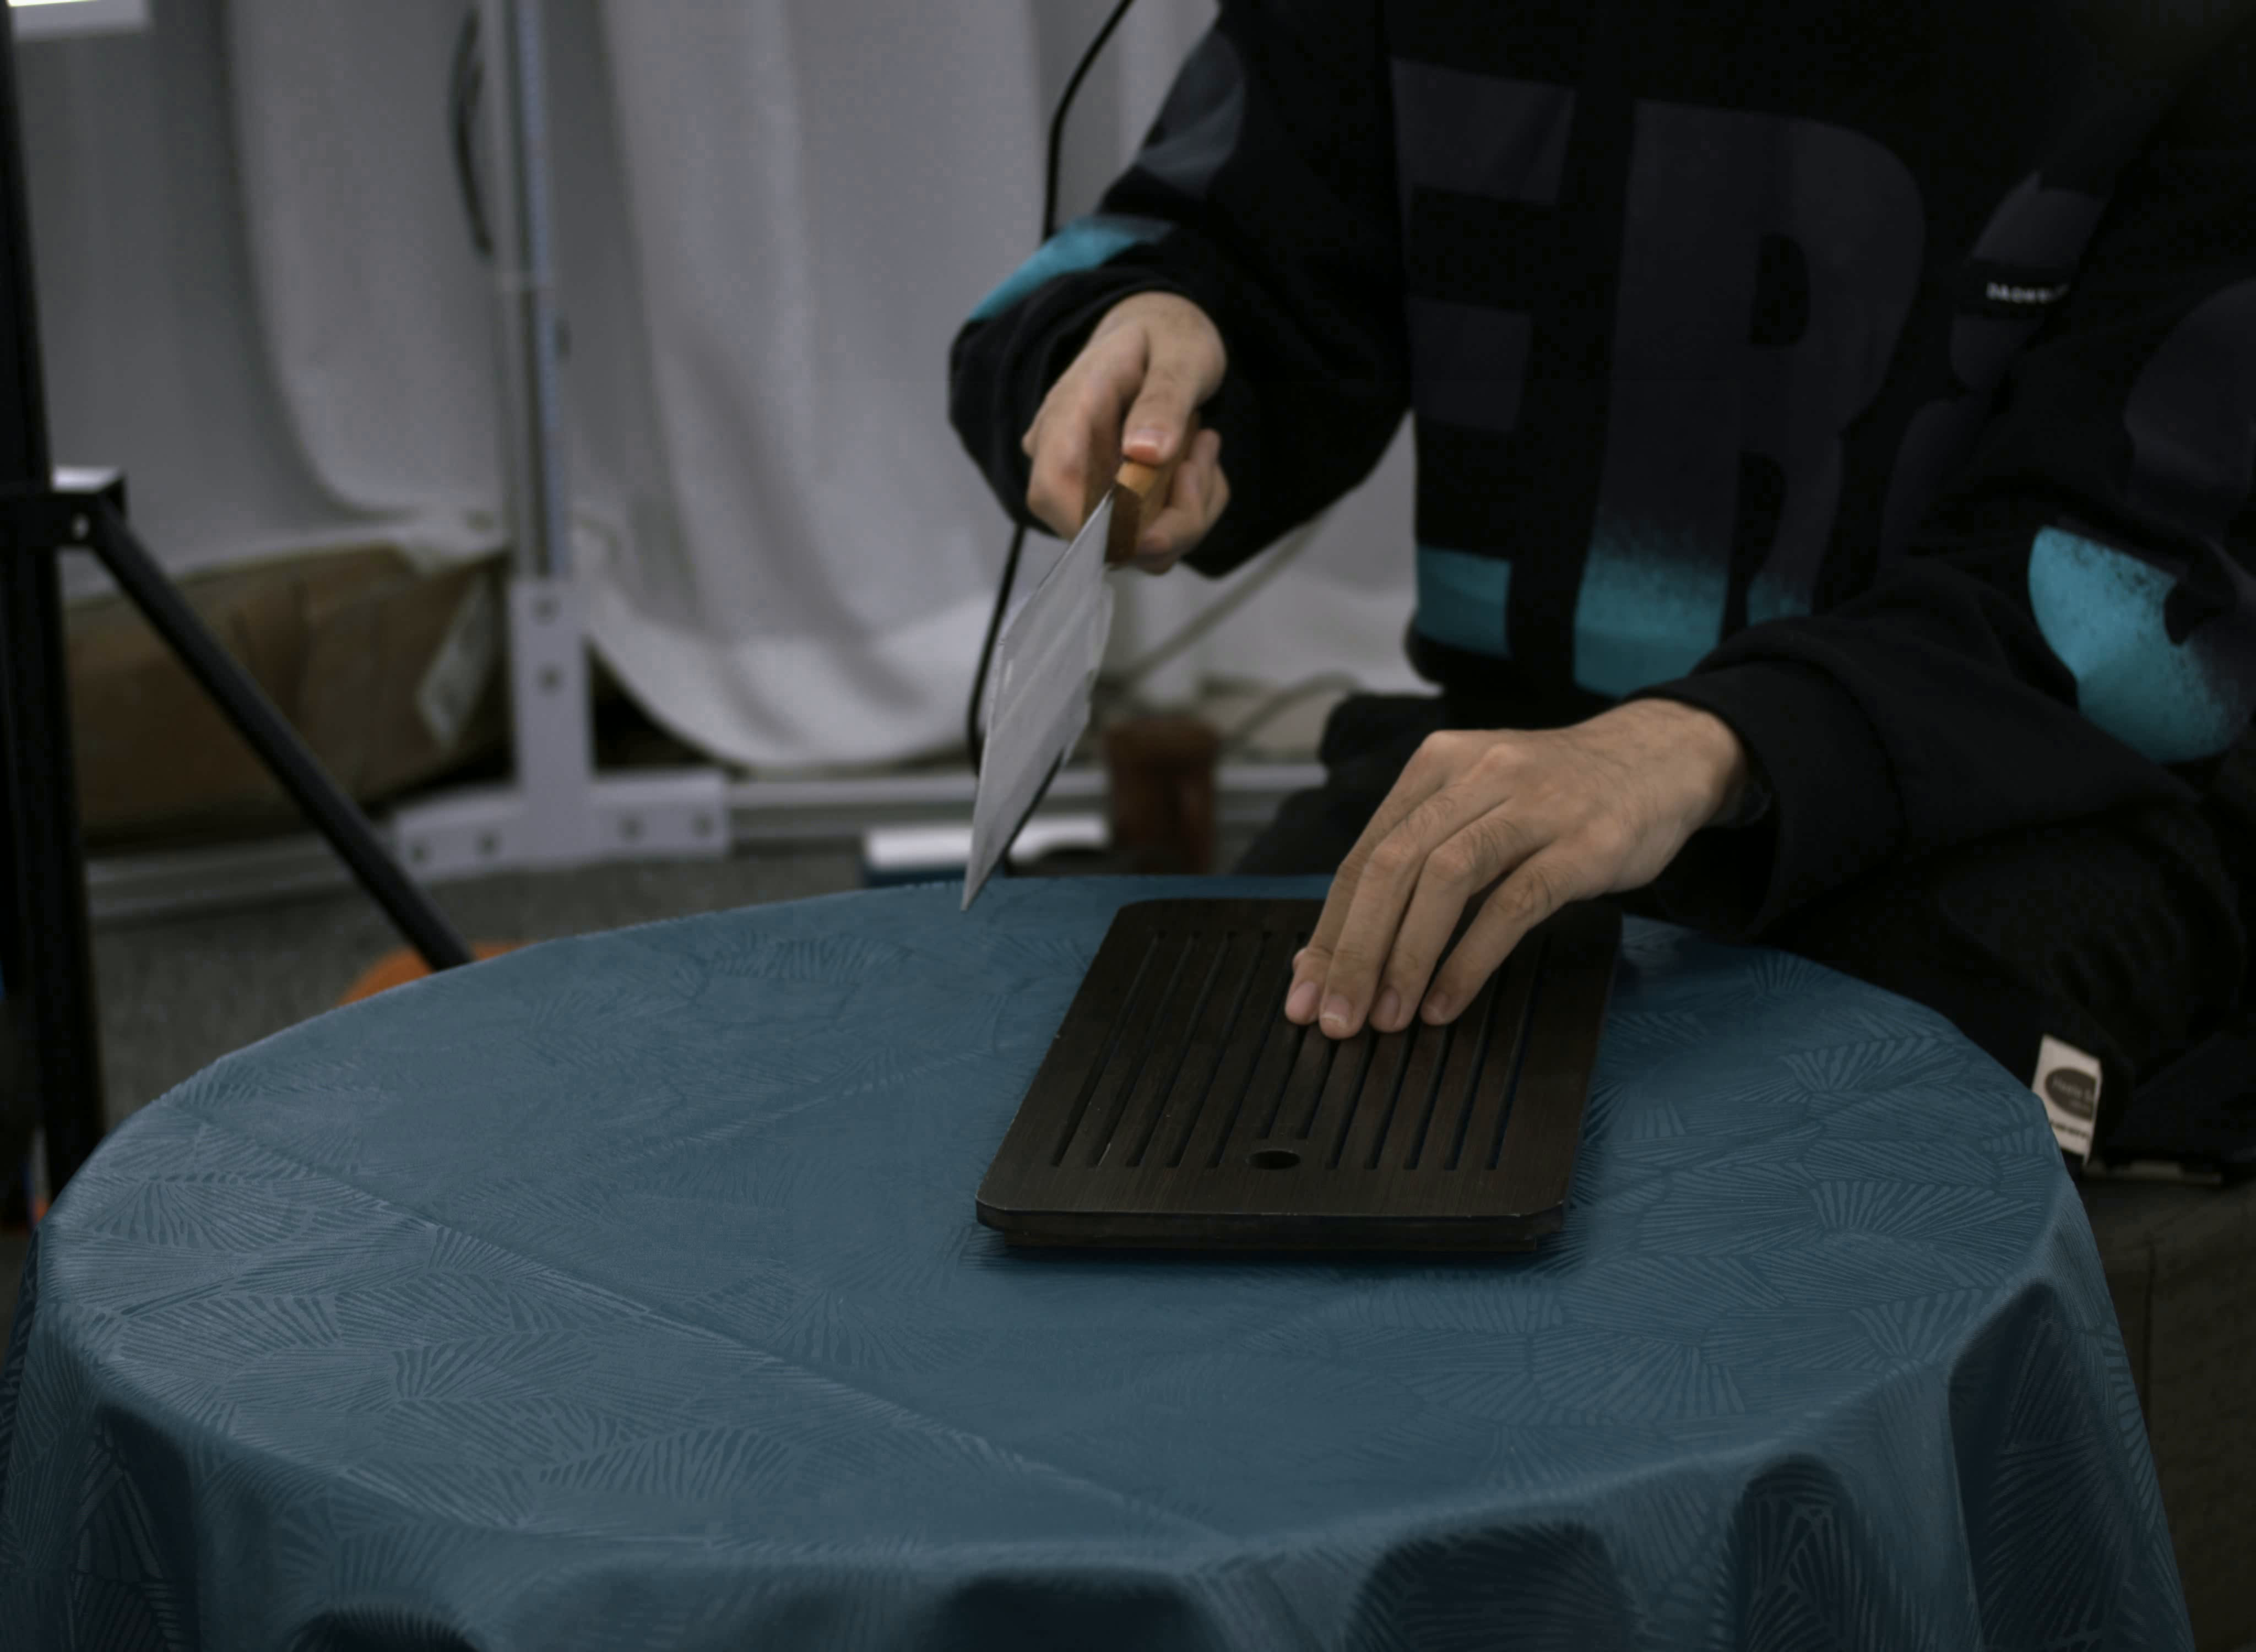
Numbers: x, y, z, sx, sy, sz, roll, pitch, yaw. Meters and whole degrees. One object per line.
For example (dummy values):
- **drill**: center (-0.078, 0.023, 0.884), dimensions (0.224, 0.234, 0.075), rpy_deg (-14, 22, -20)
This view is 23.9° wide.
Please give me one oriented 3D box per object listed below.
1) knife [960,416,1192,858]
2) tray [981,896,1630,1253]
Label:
- **knife**: center (-0.018, -0.063, 1.745), dimensions (0.021, 0.093, 0.304), rpy_deg (12, 20, 7)
- **tray**: center (0.063, 0.074, 1.633), dimensions (0.171, 0.018, 0.305), rpy_deg (0, 16, 10)
